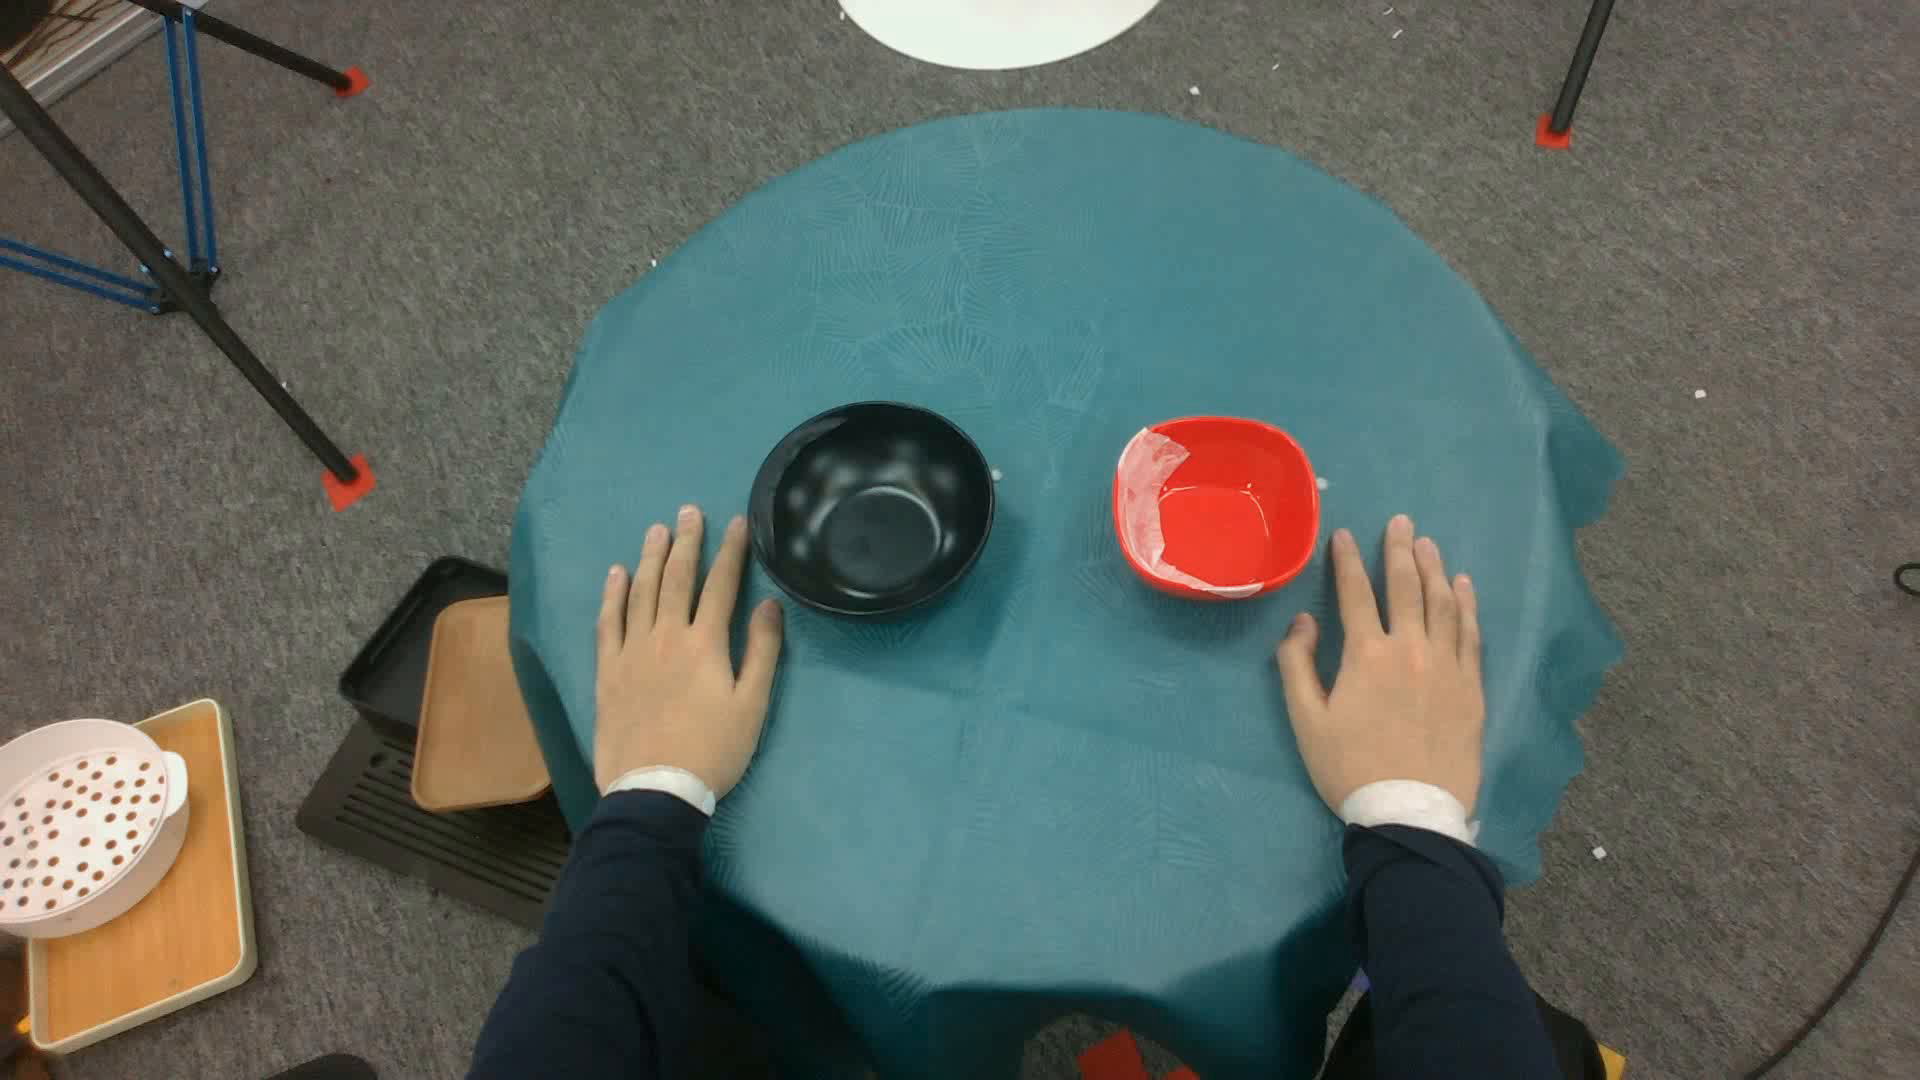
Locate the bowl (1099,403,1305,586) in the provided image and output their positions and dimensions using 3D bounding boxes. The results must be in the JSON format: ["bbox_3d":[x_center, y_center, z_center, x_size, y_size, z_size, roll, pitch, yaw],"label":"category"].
[{"bbox_3d":[0.131,-0.017,0.763,0.119,0.051,0.119,-1,59,2],"label":"bowl"}]

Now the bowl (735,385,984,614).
[{"bbox_3d":[-0.054,-0.016,0.781,0.140,0.049,0.140,-2,65,4],"label":"bowl"}]
